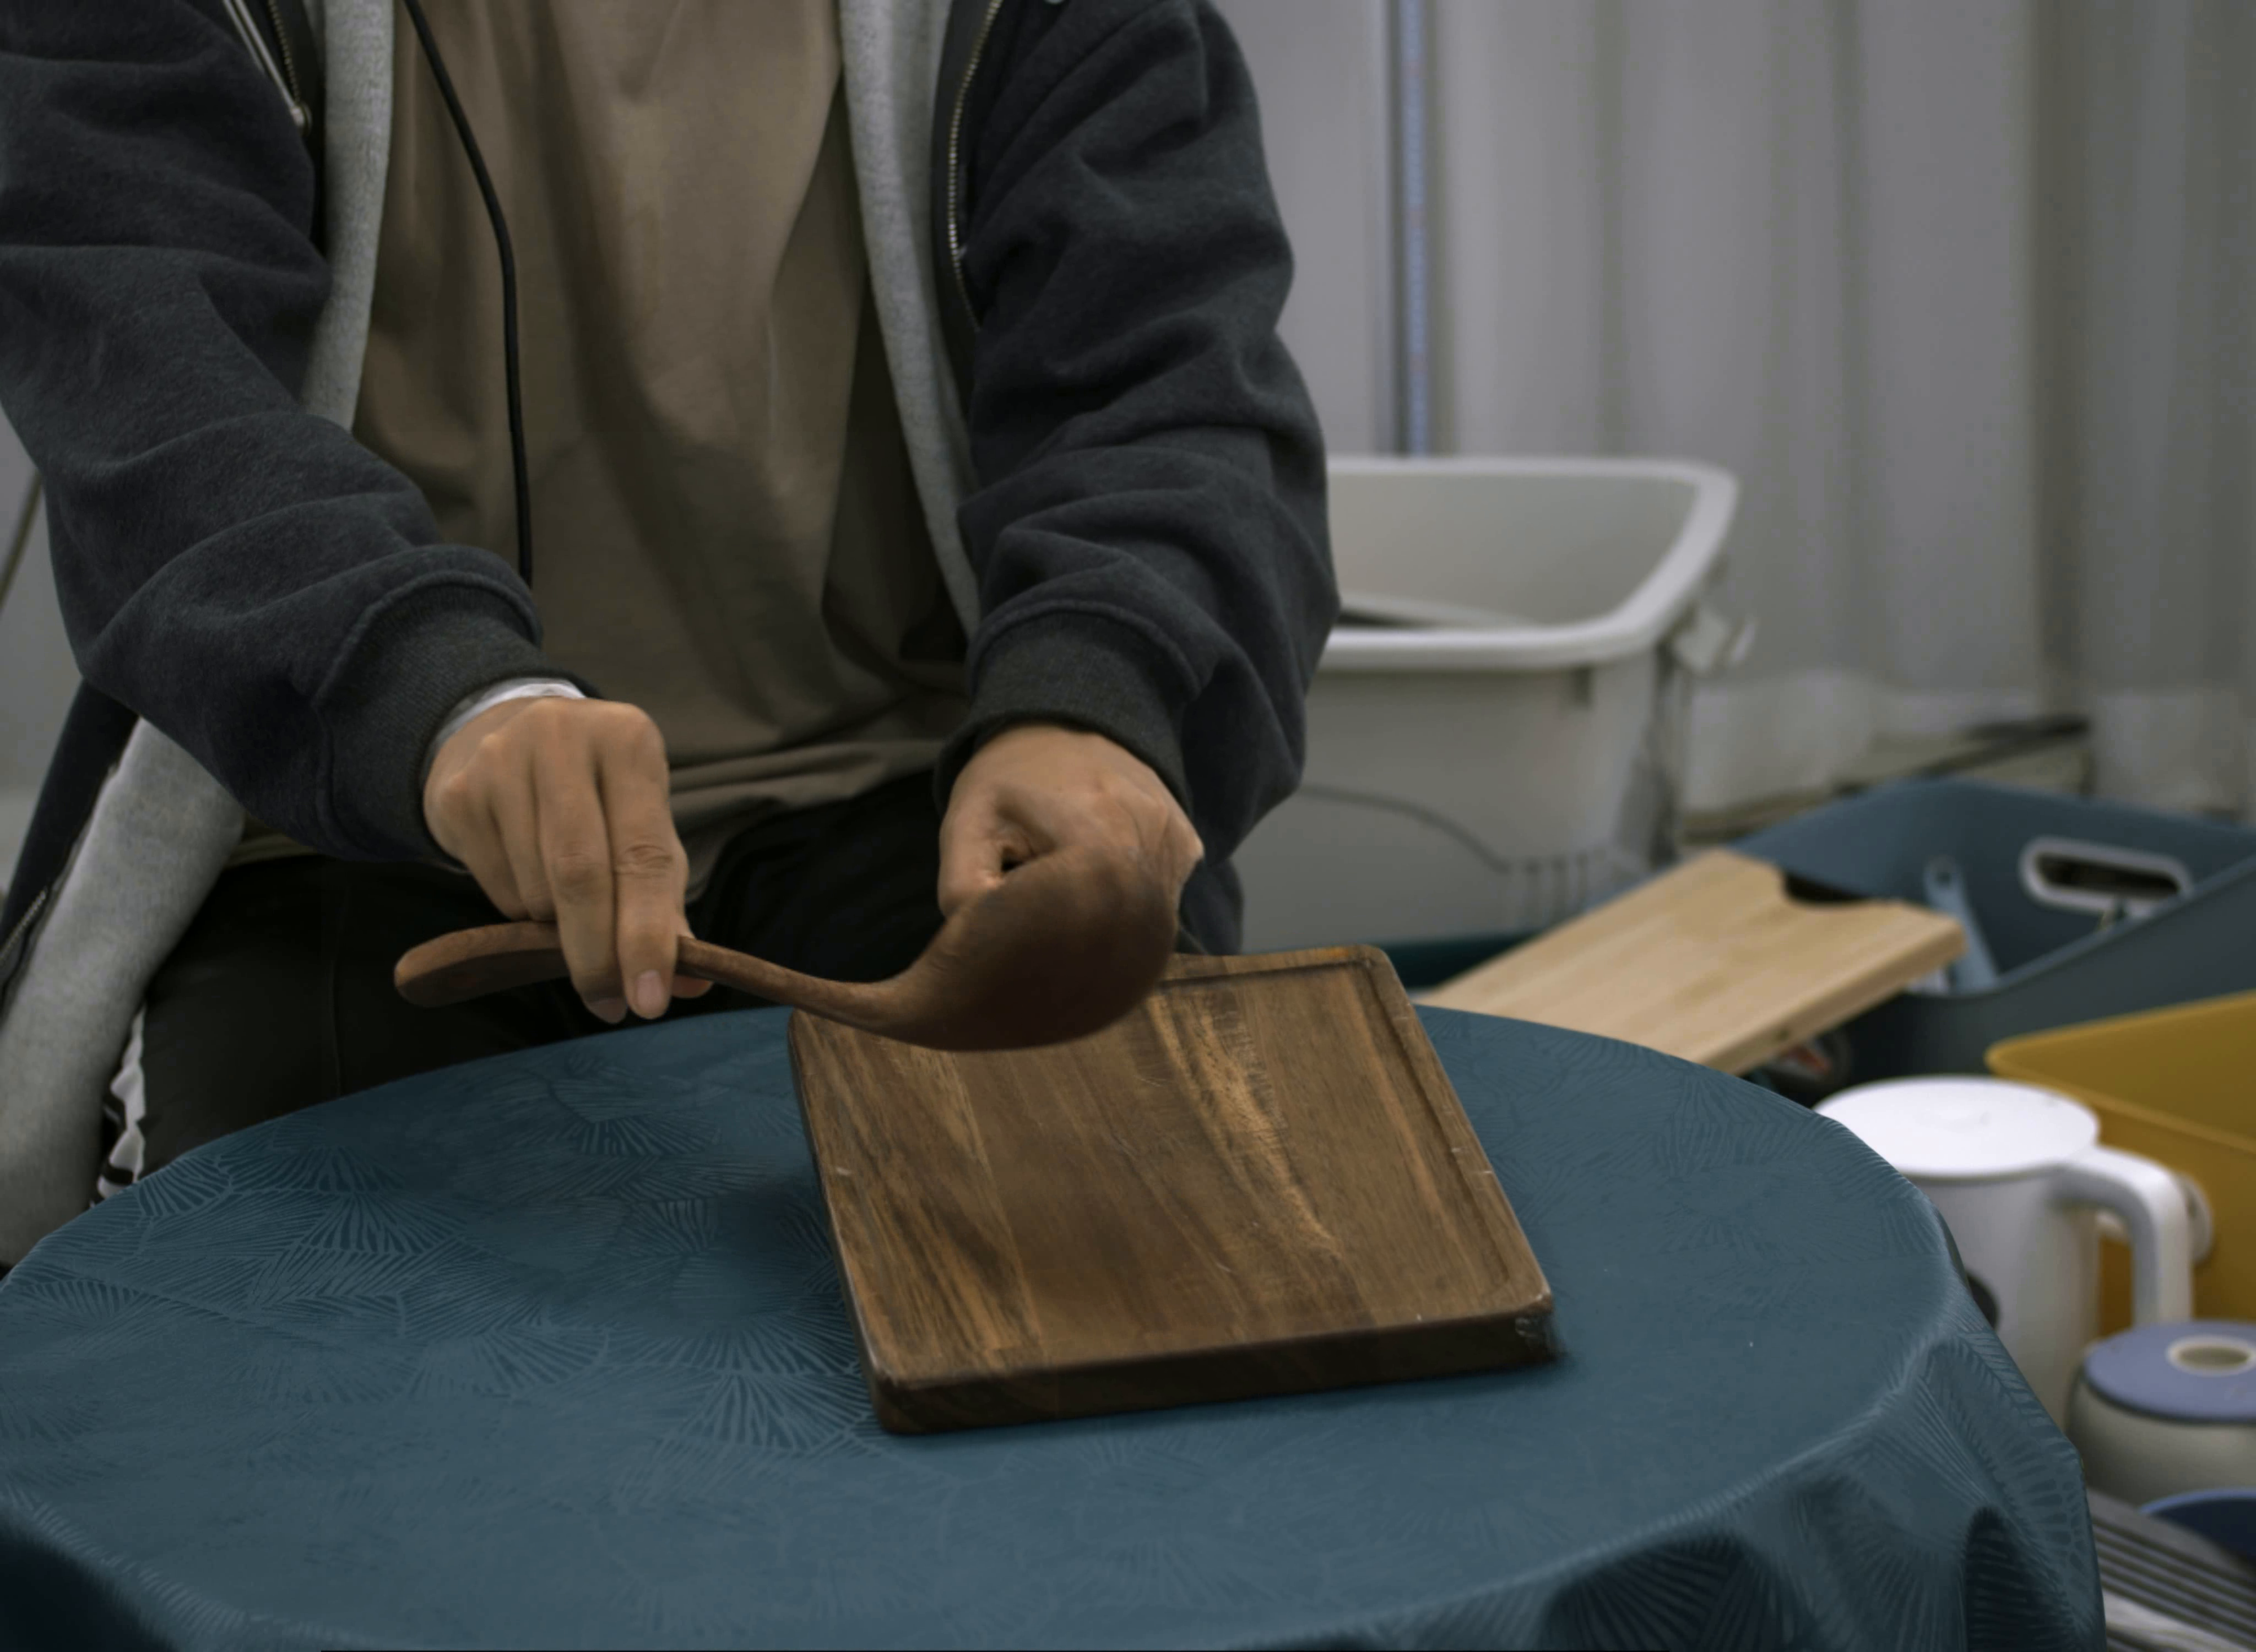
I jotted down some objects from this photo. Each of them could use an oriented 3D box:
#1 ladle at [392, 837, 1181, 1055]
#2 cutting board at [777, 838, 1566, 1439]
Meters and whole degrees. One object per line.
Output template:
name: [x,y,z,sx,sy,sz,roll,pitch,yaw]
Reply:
ladle: [-0.105,0.032,1.647,0.261,0.075,0.066,3,59,29]
cutting board: [-0.002,0.084,1.685,0.200,0.023,0.356,-5,24,-8]
